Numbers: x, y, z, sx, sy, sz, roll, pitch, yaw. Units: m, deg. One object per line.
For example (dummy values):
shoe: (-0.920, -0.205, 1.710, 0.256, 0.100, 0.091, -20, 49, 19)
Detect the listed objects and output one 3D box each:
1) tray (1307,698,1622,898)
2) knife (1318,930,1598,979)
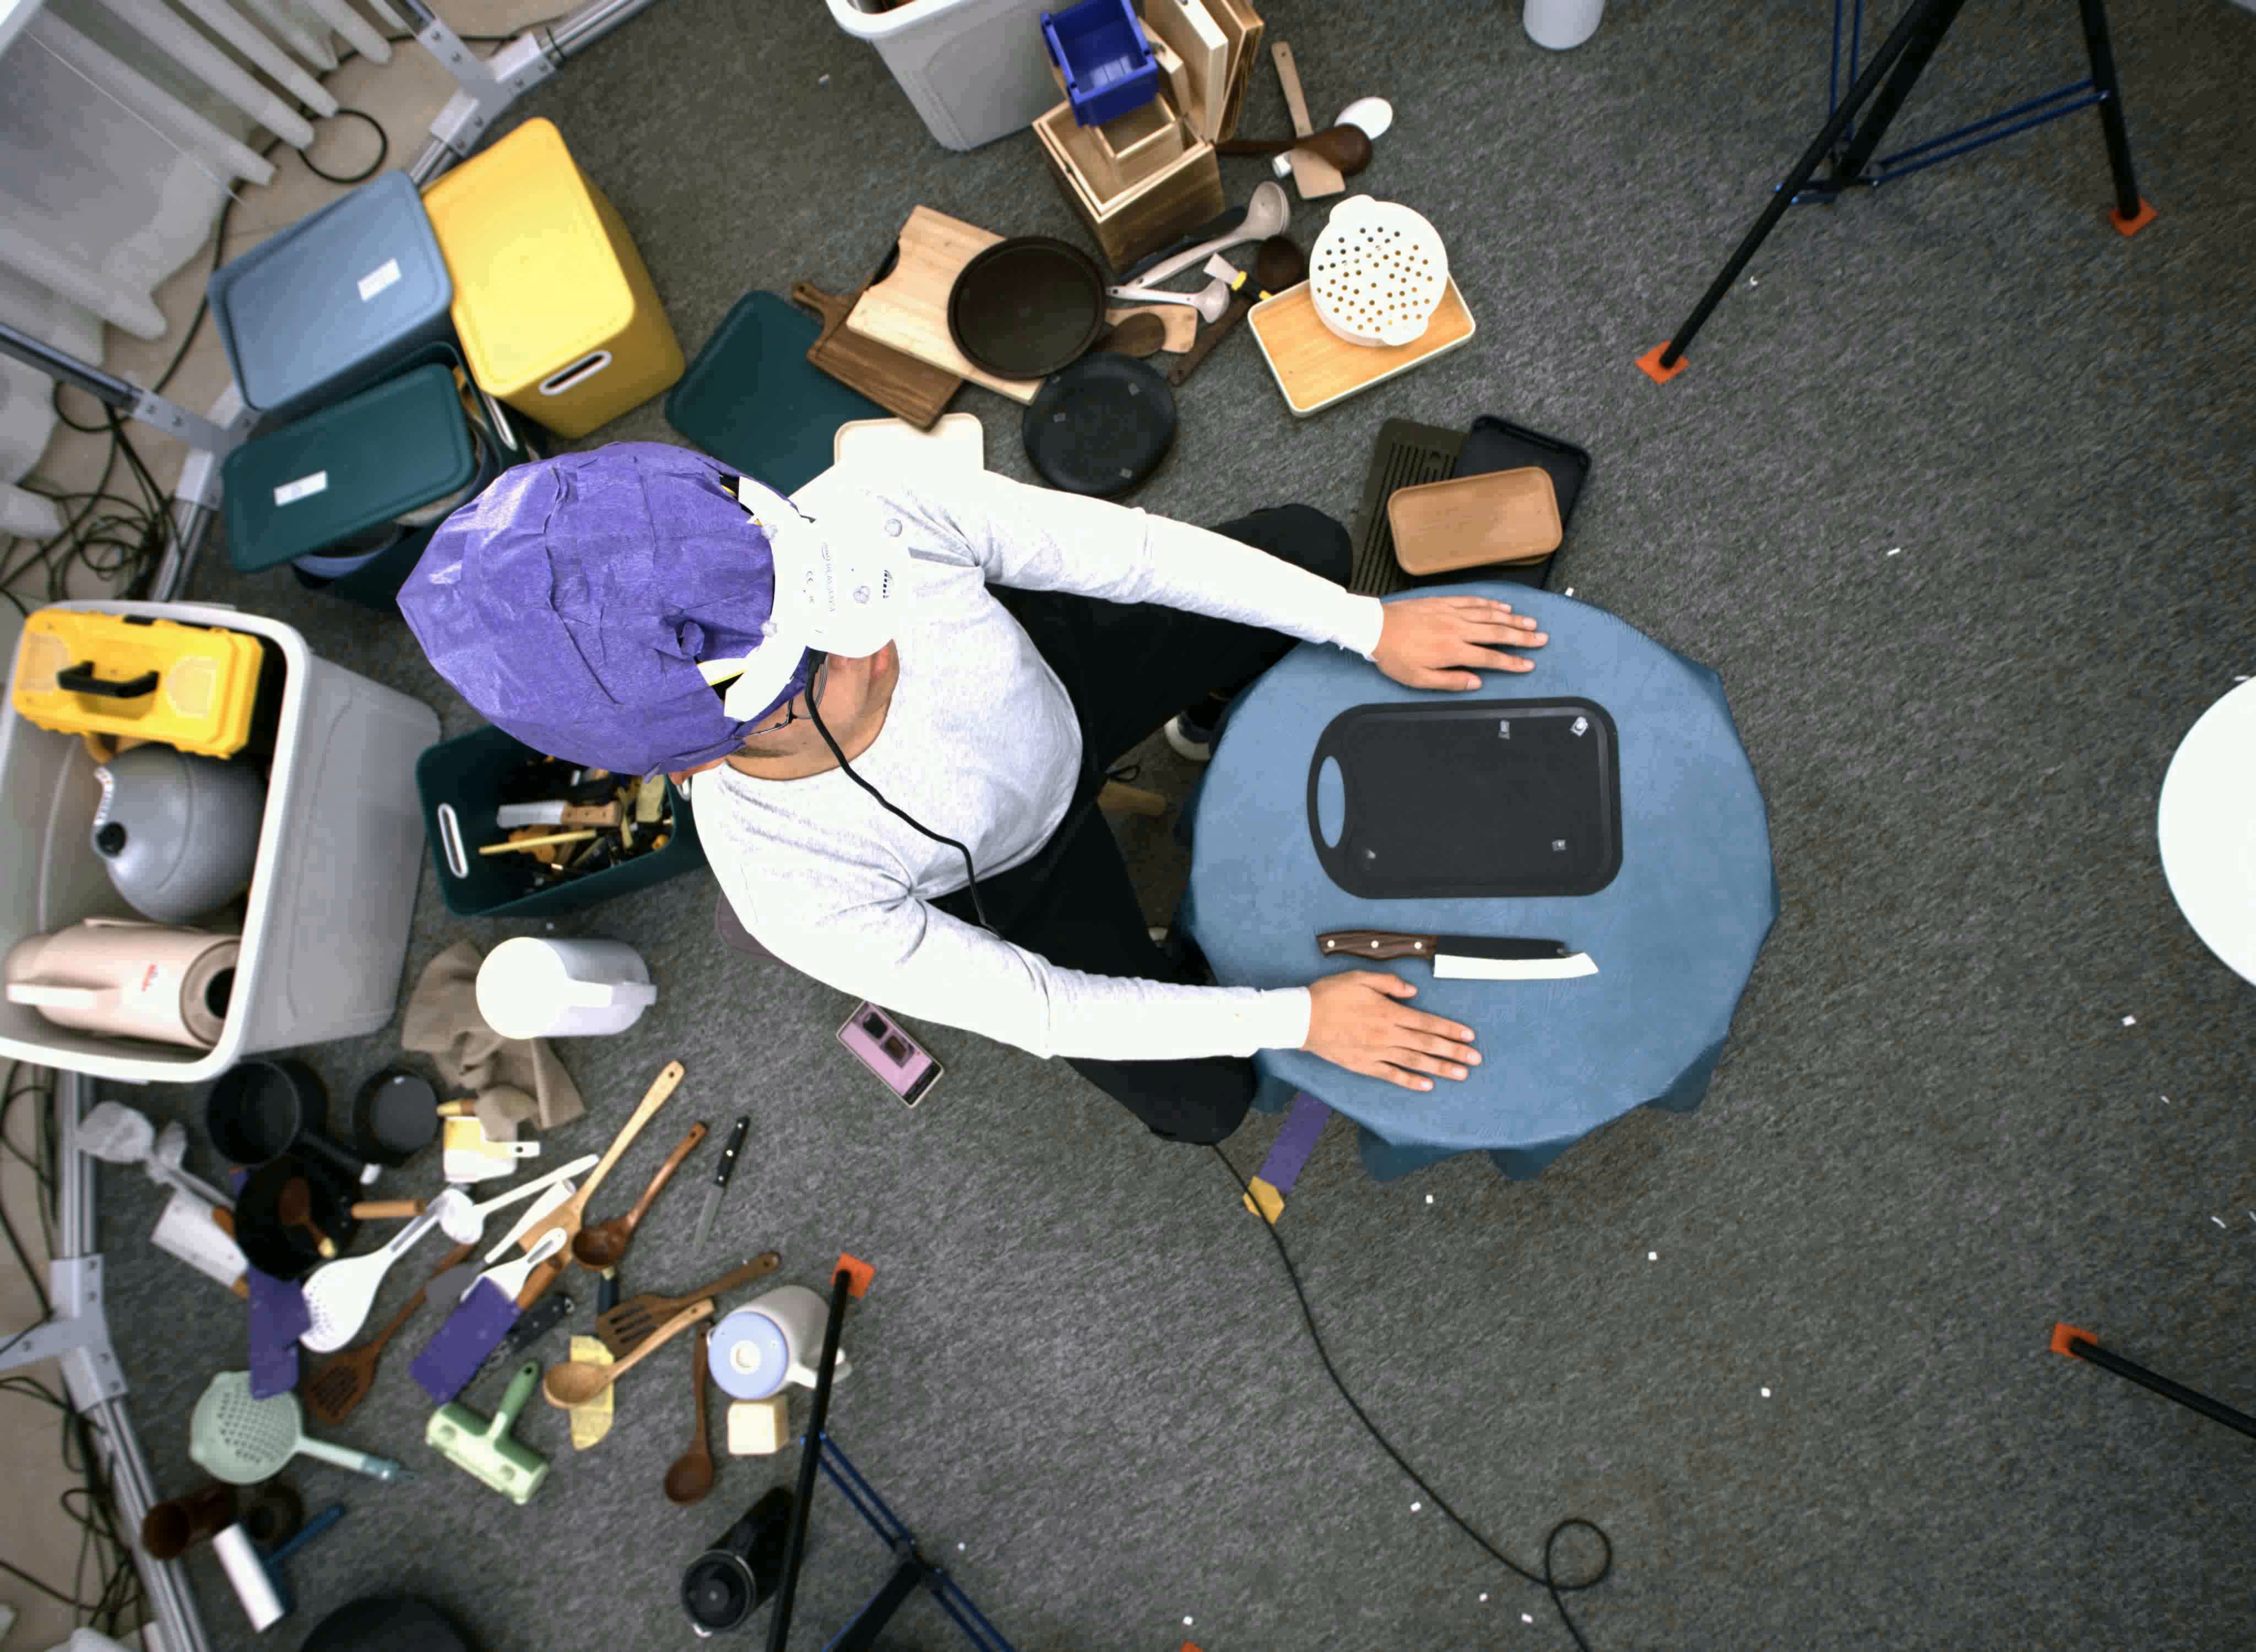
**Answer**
tray: (0.351, -0.032, 1.448, 0.327, 0.010, 0.210, -1, 86, 11)
knife: (0.342, 0.131, 1.436, 0.290, 0.020, 0.050, 4, 92, 8)
